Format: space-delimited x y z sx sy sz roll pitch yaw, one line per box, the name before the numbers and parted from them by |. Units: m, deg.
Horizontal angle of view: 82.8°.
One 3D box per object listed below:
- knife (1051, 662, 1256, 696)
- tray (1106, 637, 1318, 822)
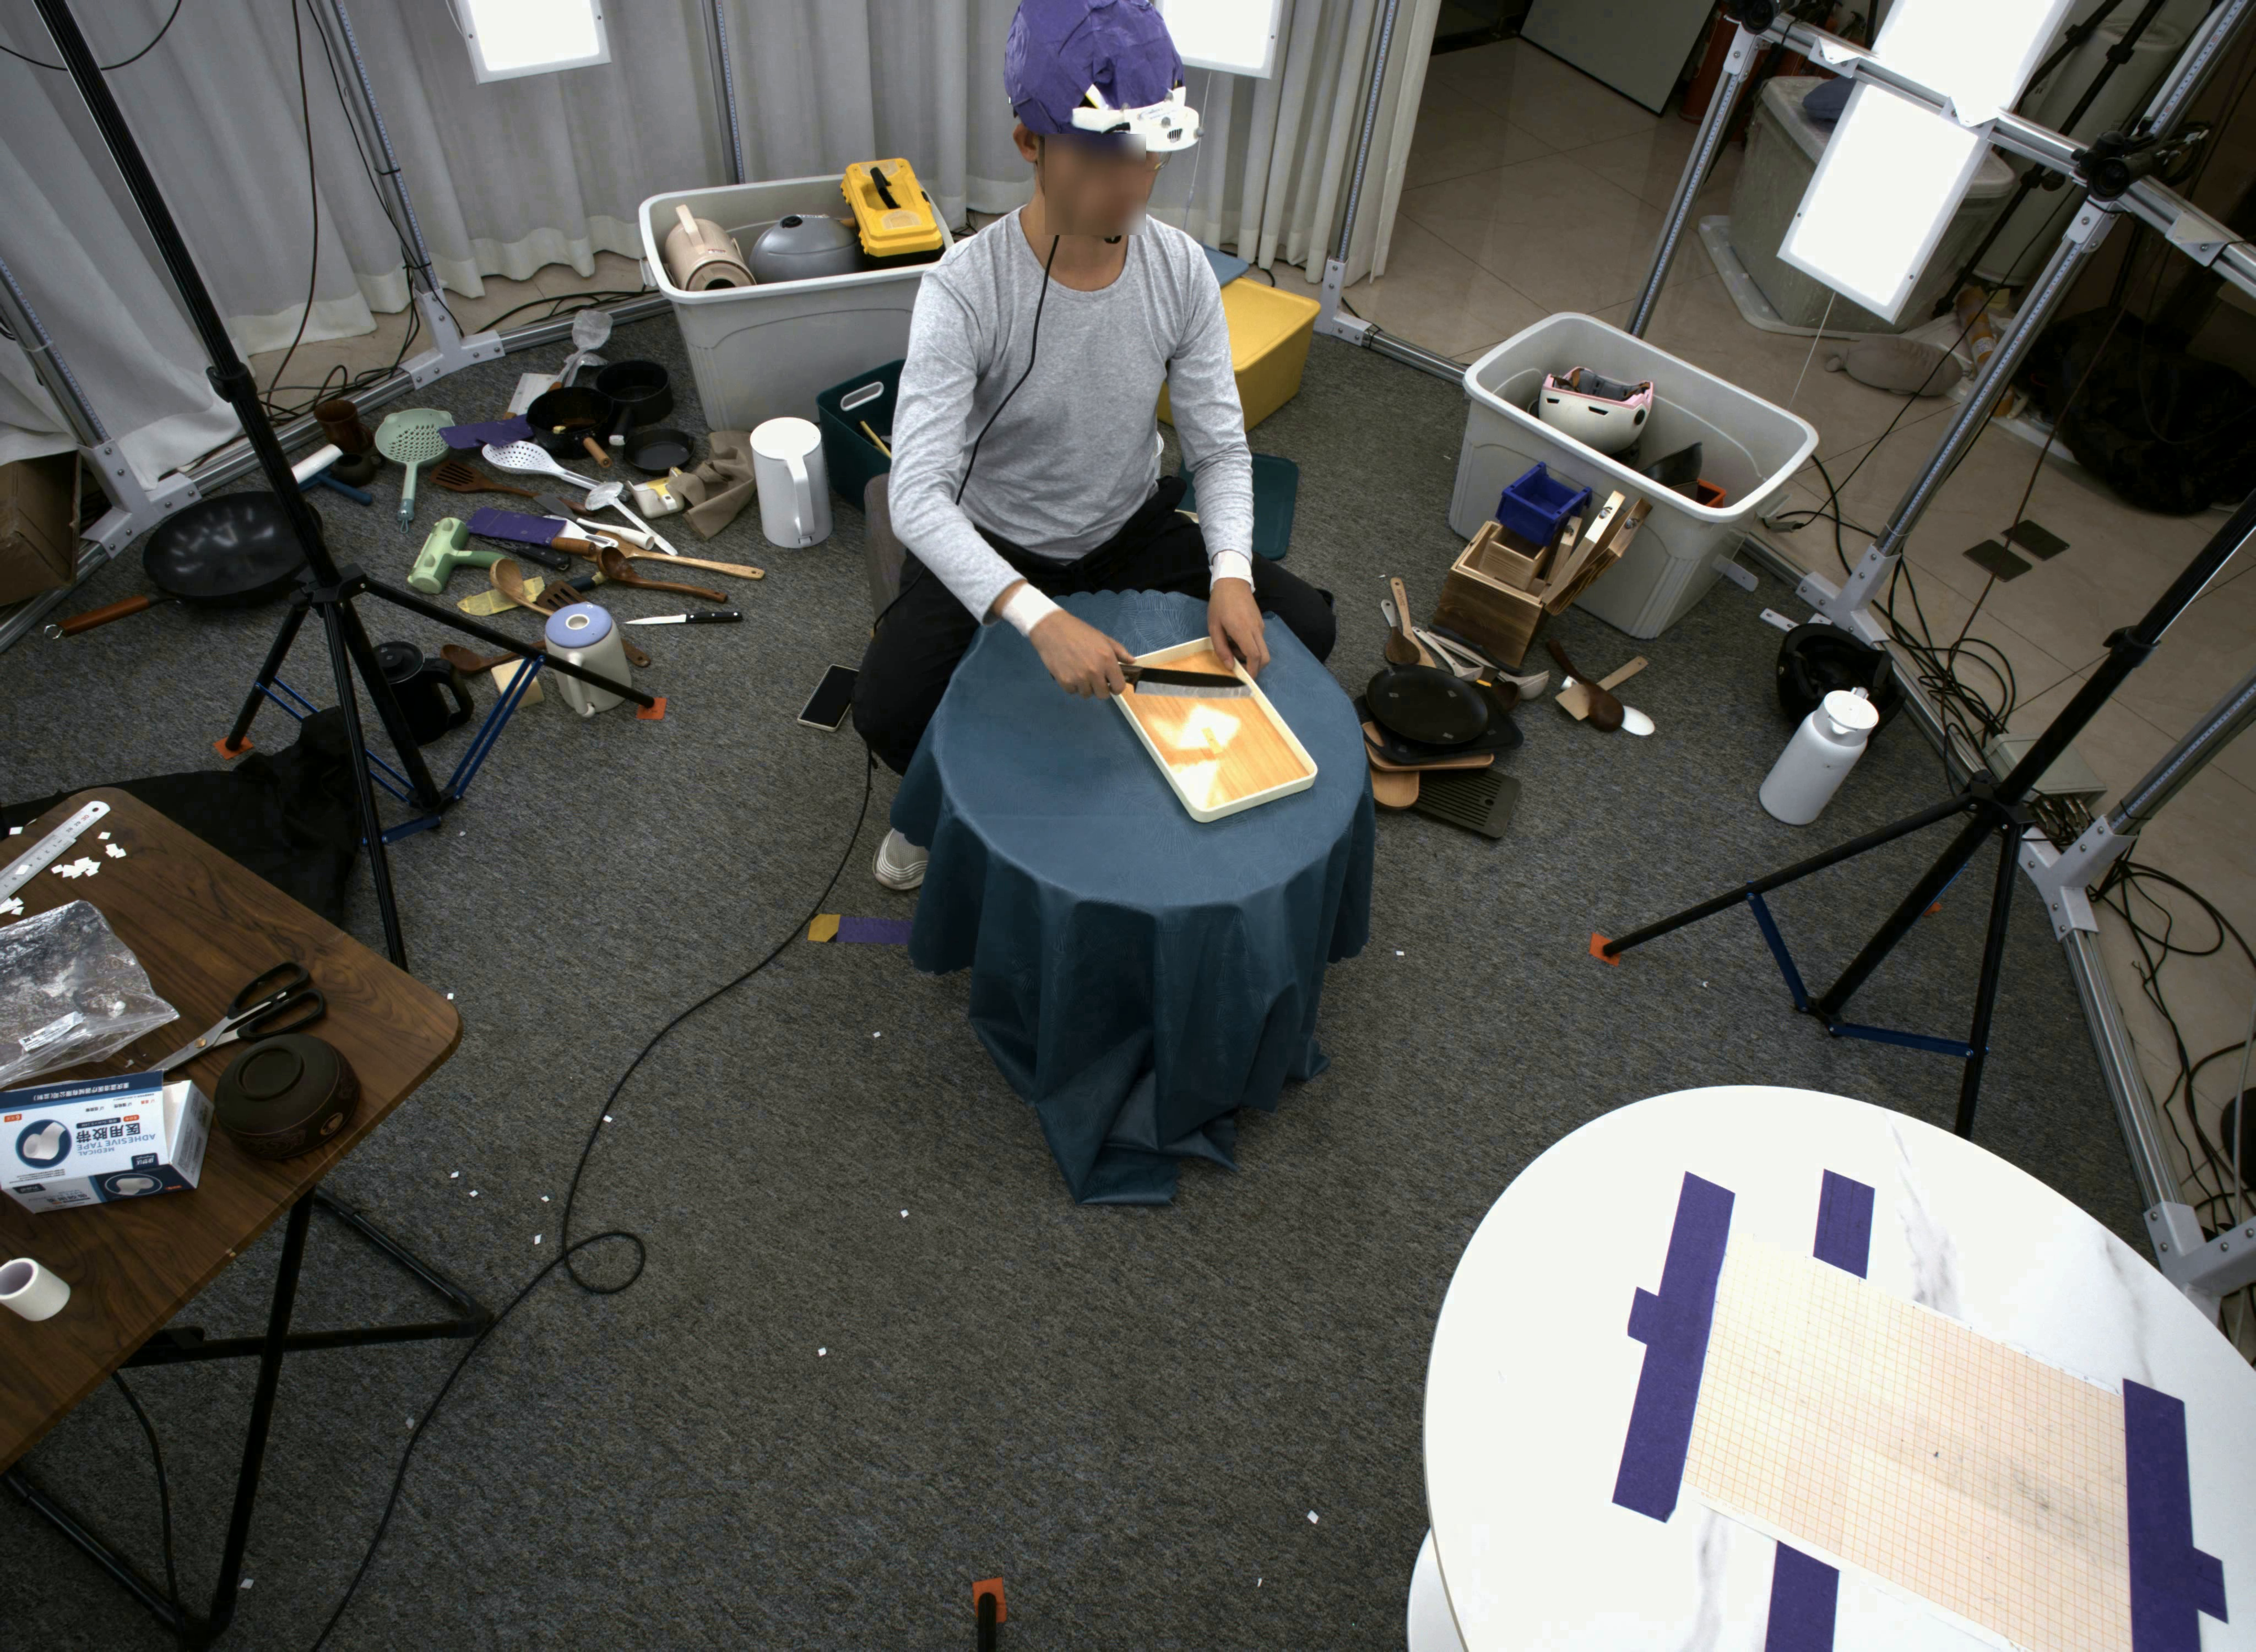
knife | 0.037 -0.197 1.729 0.288 0.049 0.020 4 45 -13
tray | 0.111 -0.141 1.780 0.192 0.027 0.307 -18 52 -18
